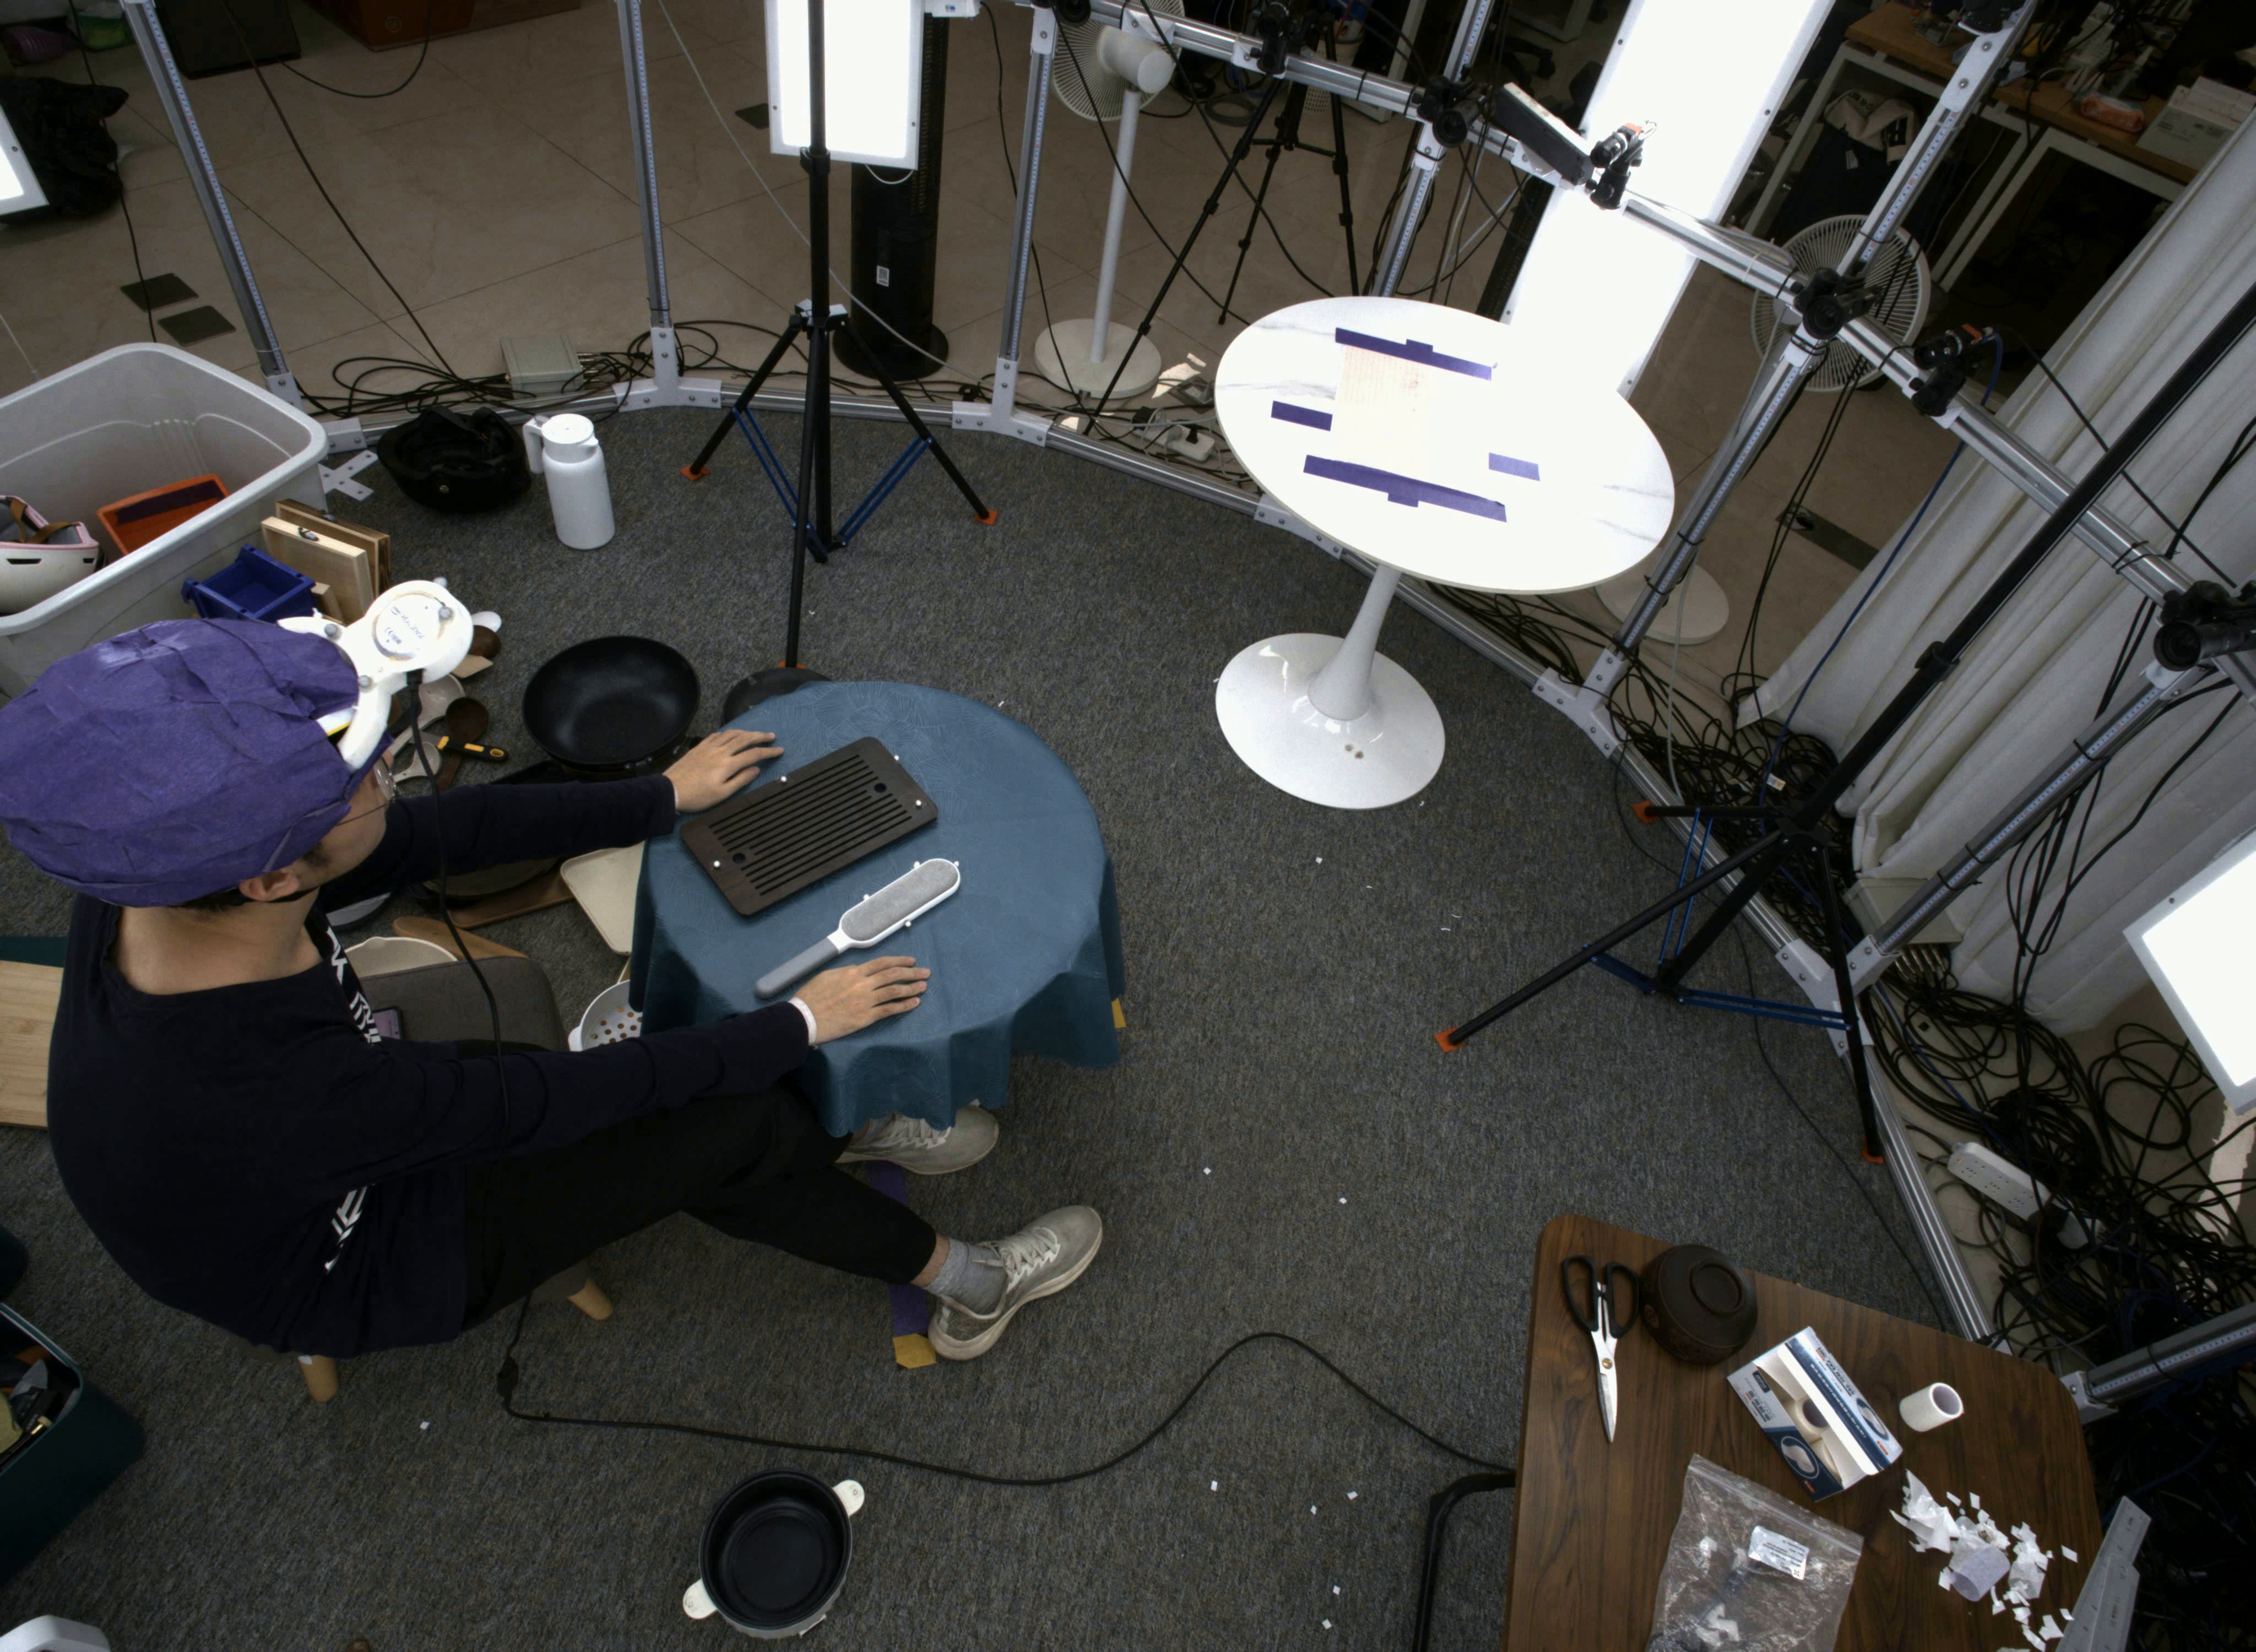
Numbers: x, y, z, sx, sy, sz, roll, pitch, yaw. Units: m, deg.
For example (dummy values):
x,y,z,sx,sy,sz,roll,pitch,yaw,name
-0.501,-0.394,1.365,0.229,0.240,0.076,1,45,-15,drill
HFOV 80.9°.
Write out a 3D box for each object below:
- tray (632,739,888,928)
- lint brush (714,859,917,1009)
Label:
x,y,z,sx,sy,sz,roll,pitch,yaw,name
-0.482,0.004,1.706,0.307,0.019,0.166,-34,68,-32,tray
-0.390,0.131,1.630,0.059,0.021,0.309,45,56,13,lint brush
